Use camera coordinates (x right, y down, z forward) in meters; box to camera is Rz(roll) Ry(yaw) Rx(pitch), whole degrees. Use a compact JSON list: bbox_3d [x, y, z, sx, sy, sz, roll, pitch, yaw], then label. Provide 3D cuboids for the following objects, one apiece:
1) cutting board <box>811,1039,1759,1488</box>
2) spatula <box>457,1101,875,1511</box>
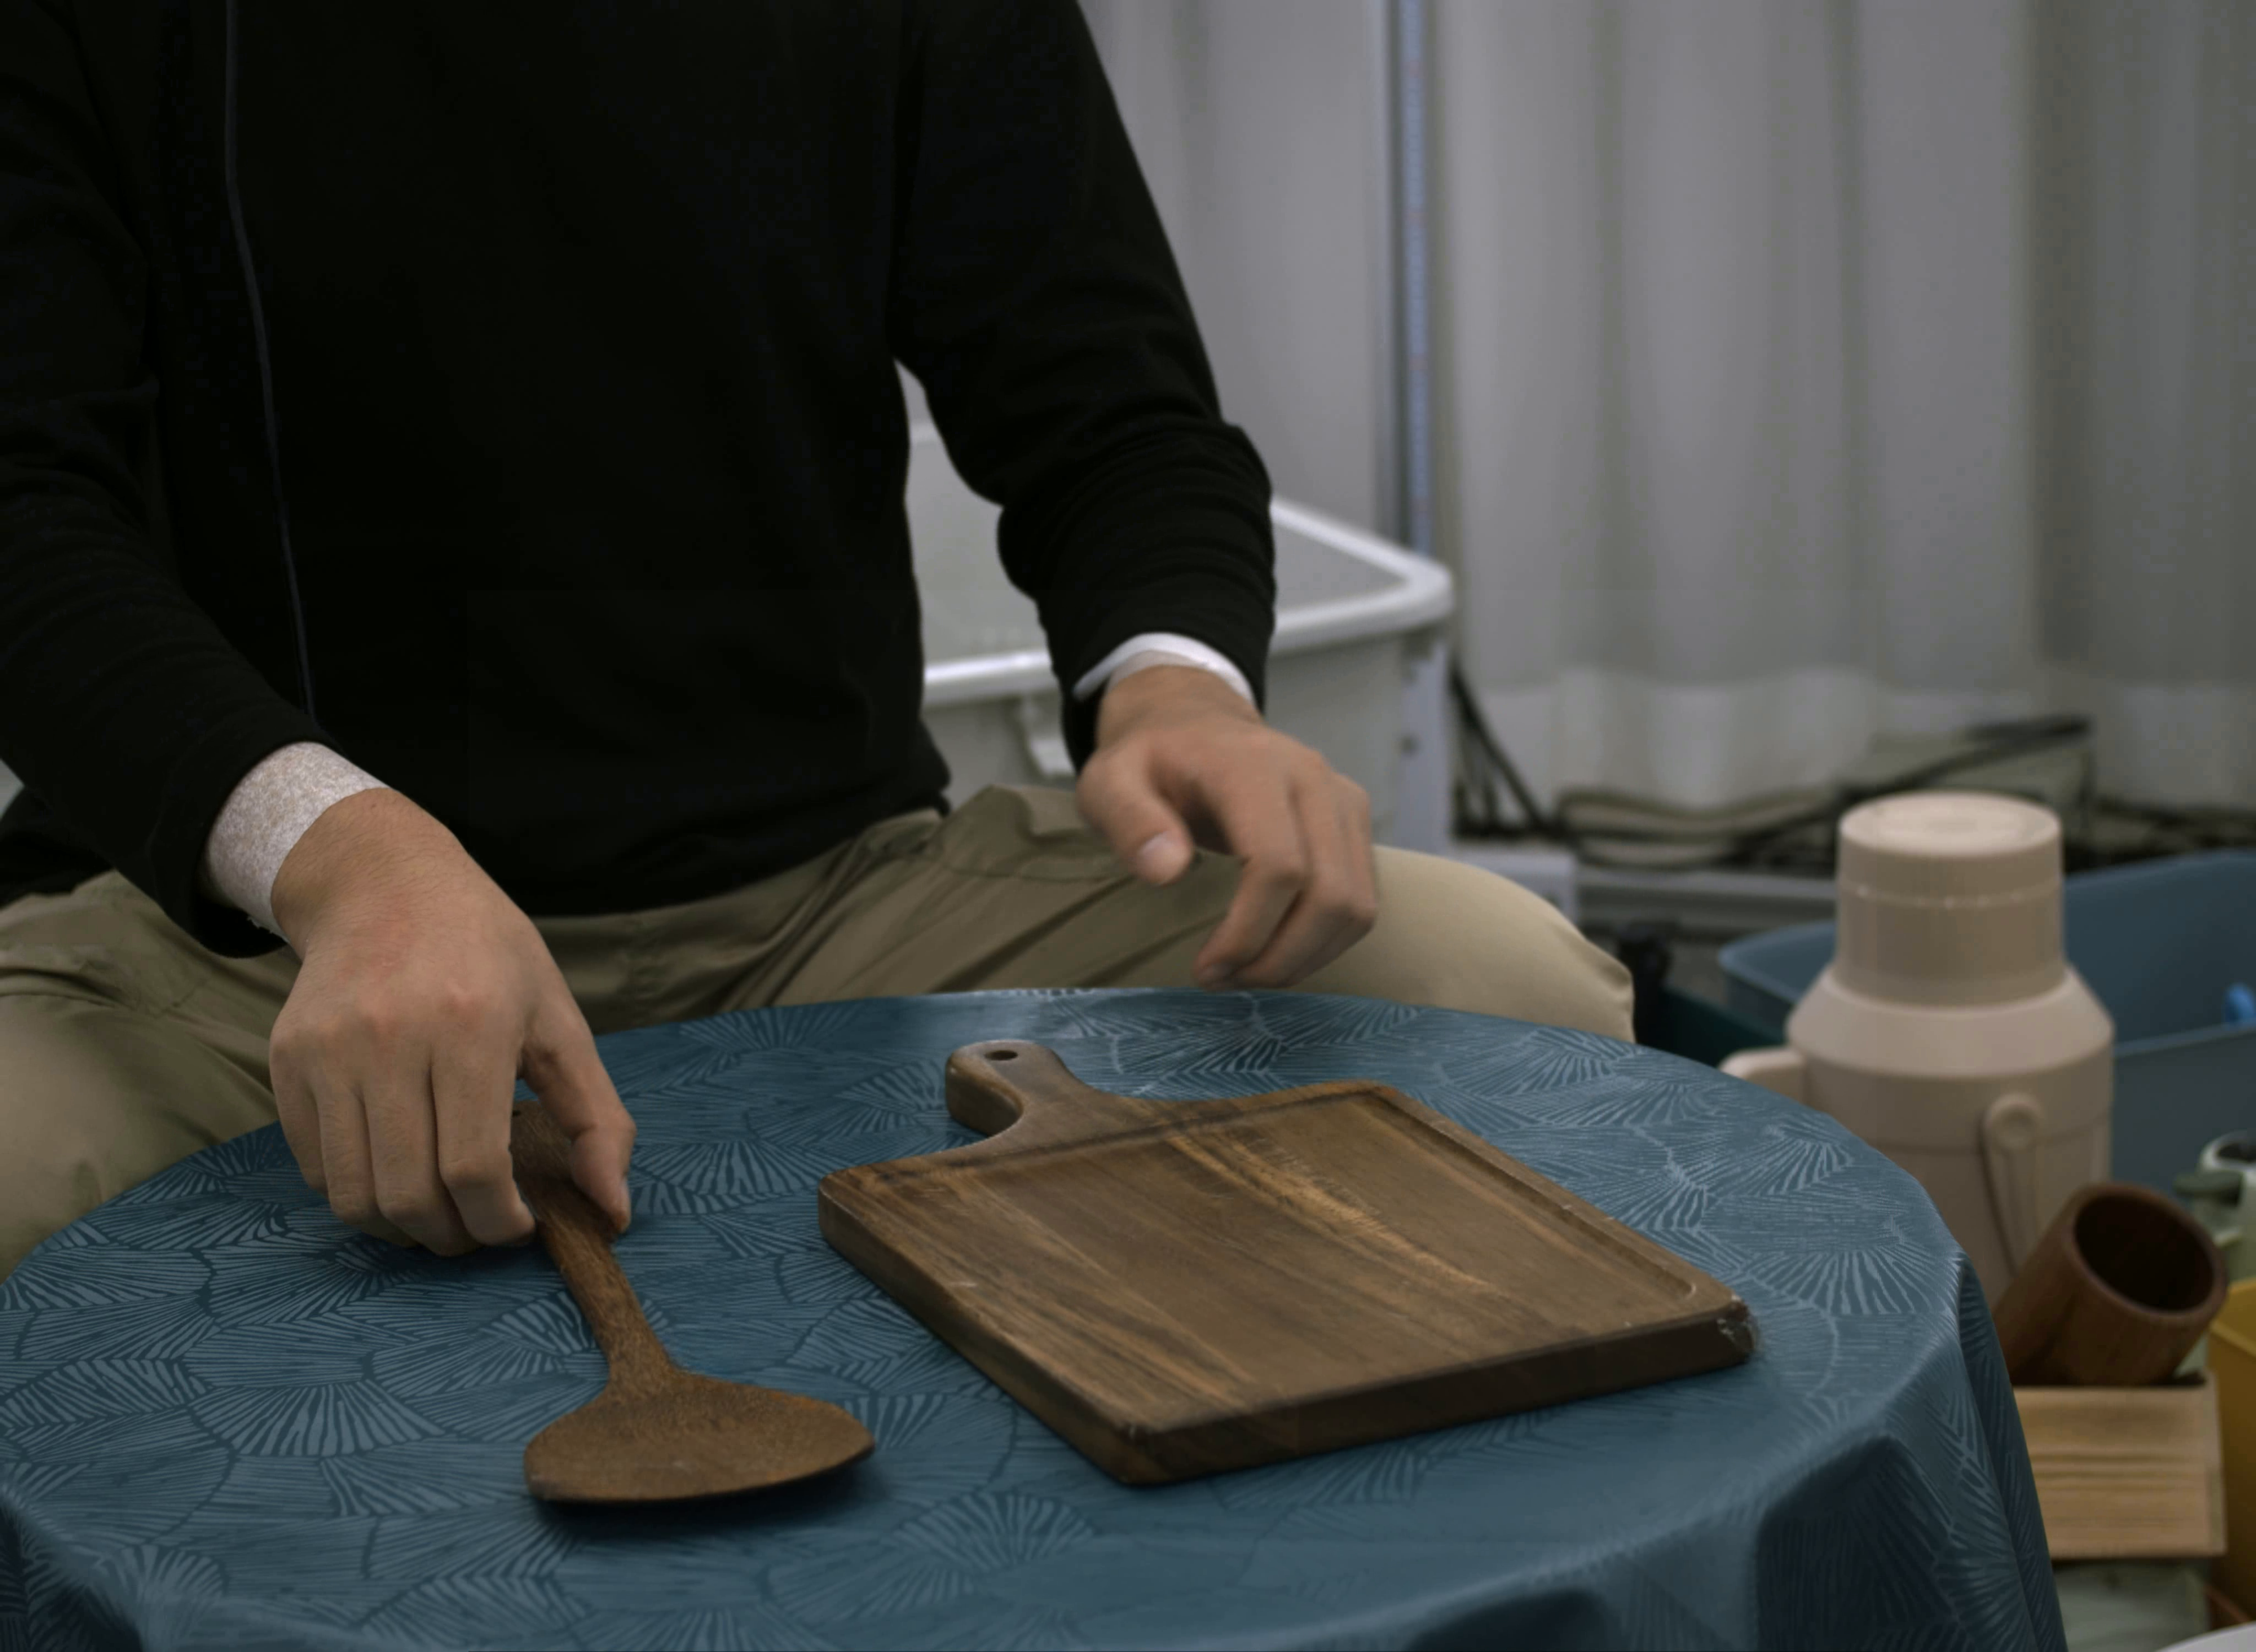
[{"bbox_3d":[0.021,0.118,1.656,0.200,0.023,0.355,-9,16,-22],"label":"cutting board"},{"bbox_3d":[-0.159,0.136,1.633,0.095,0.016,0.389,-6,15,-14],"label":"spatula"}]
